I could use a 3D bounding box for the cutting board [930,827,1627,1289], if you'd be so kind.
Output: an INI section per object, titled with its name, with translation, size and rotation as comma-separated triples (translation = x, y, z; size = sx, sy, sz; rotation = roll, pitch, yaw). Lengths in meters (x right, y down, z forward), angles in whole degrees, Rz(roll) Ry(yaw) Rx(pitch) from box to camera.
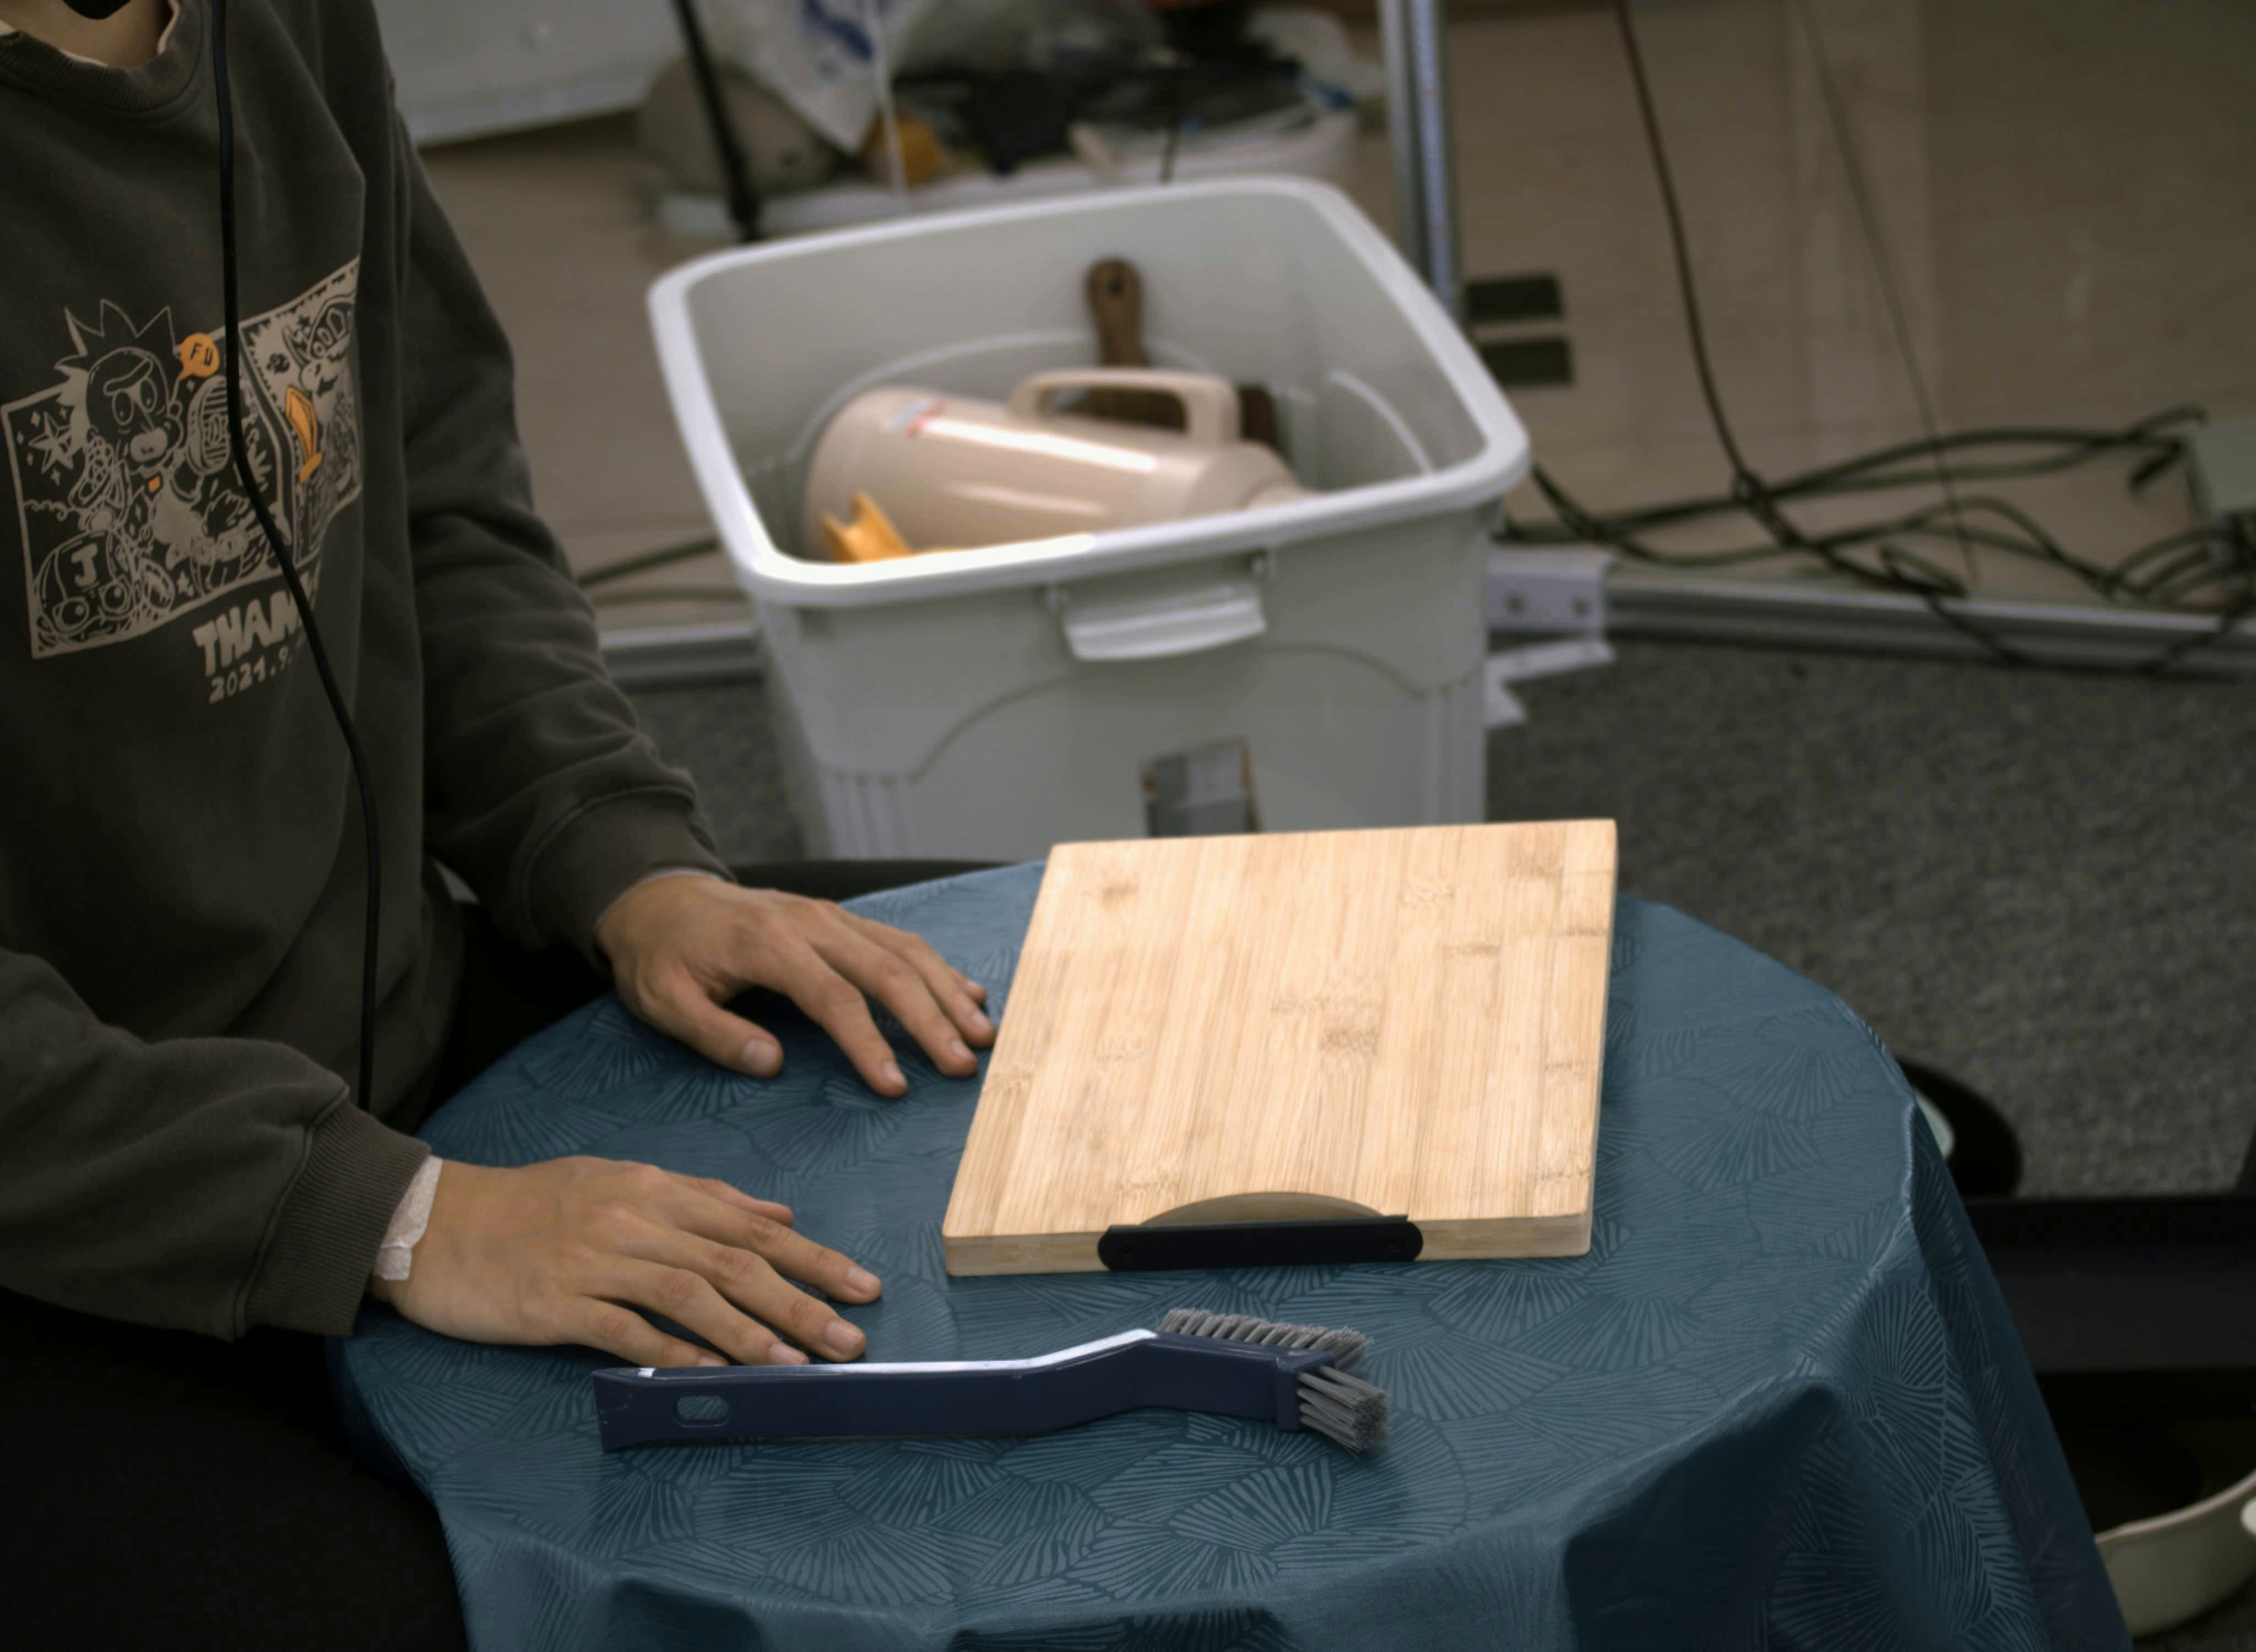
[cutting board]
translation = 0.067, 0.085, 2.225
size = 0.250, 0.024, 0.343
rotation = -4, 25, 8

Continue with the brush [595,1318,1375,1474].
[brush]
translation = -0.052, 0.202, 1.988
size = 0.273, 0.034, 0.094
rotation = -5, 25, 1
